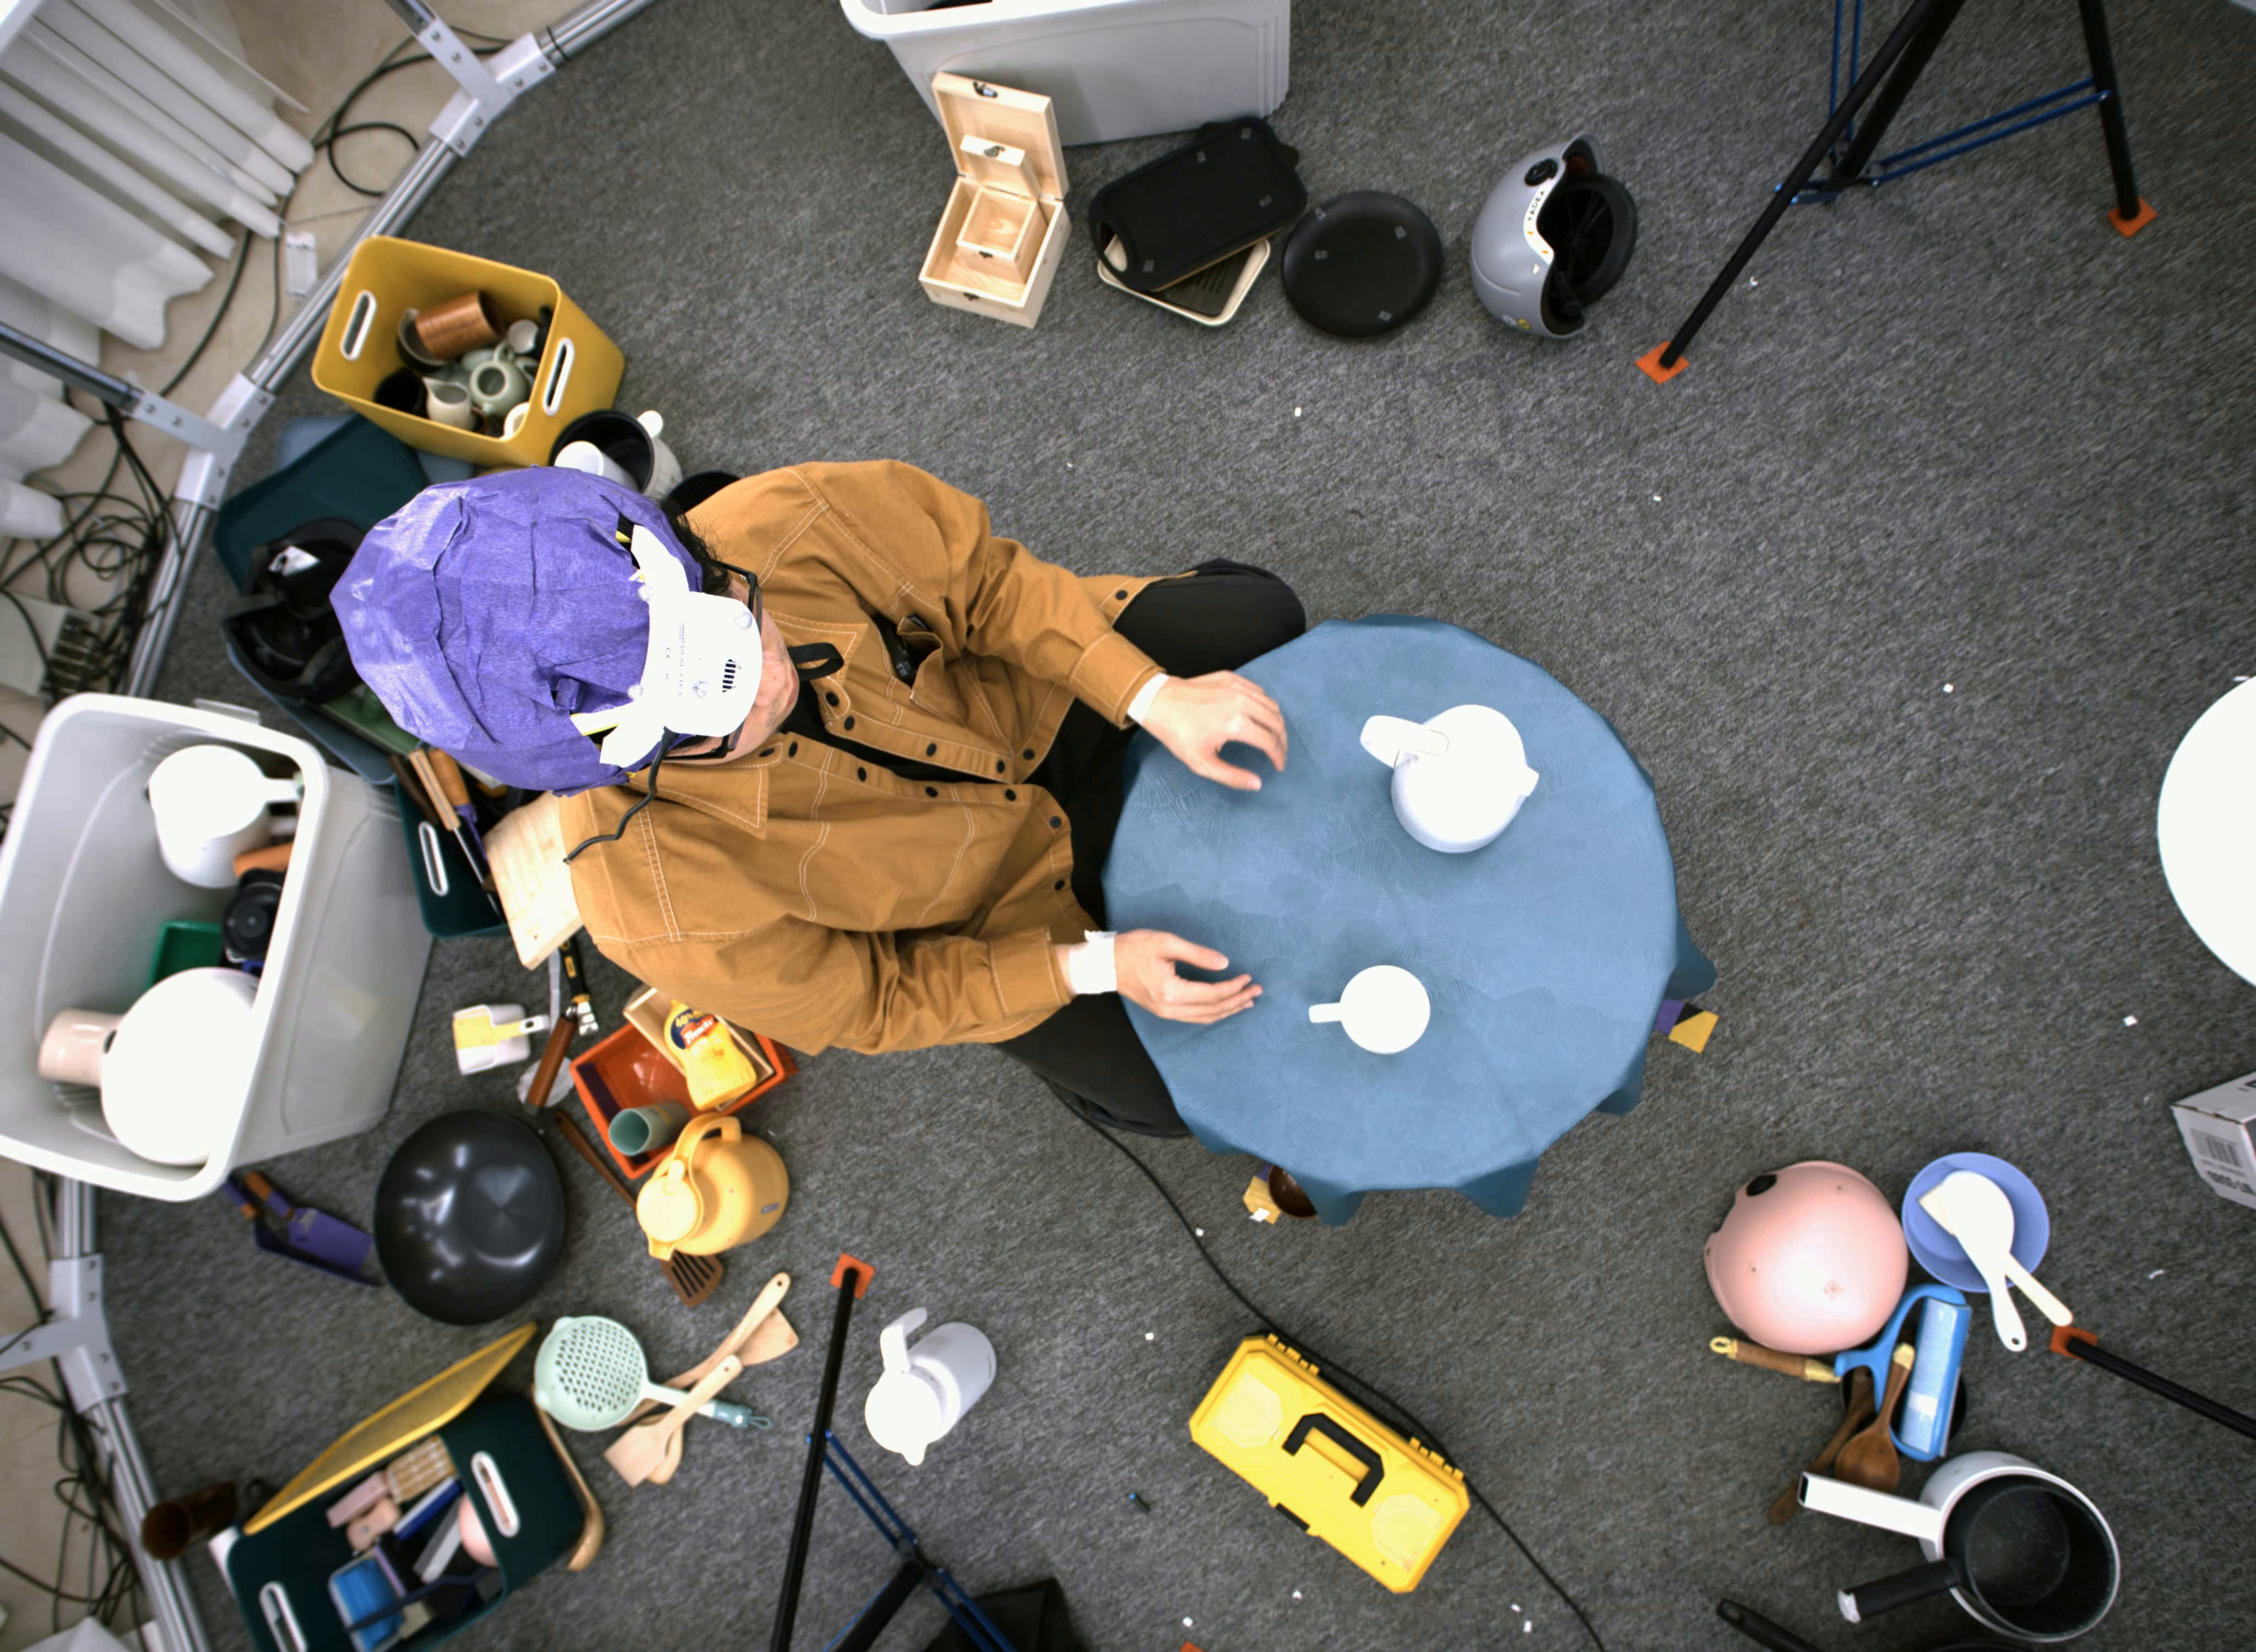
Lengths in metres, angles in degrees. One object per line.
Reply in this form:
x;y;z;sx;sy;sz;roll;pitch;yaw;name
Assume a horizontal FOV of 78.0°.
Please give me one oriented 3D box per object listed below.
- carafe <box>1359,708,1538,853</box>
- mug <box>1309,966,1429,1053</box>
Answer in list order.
0.306;-0.056;1.335;0.167;0.248;0.132;22;90;12;carafe
0.244;0.185;1.408;0.119;0.102;0.084;-7;85;10;mug
